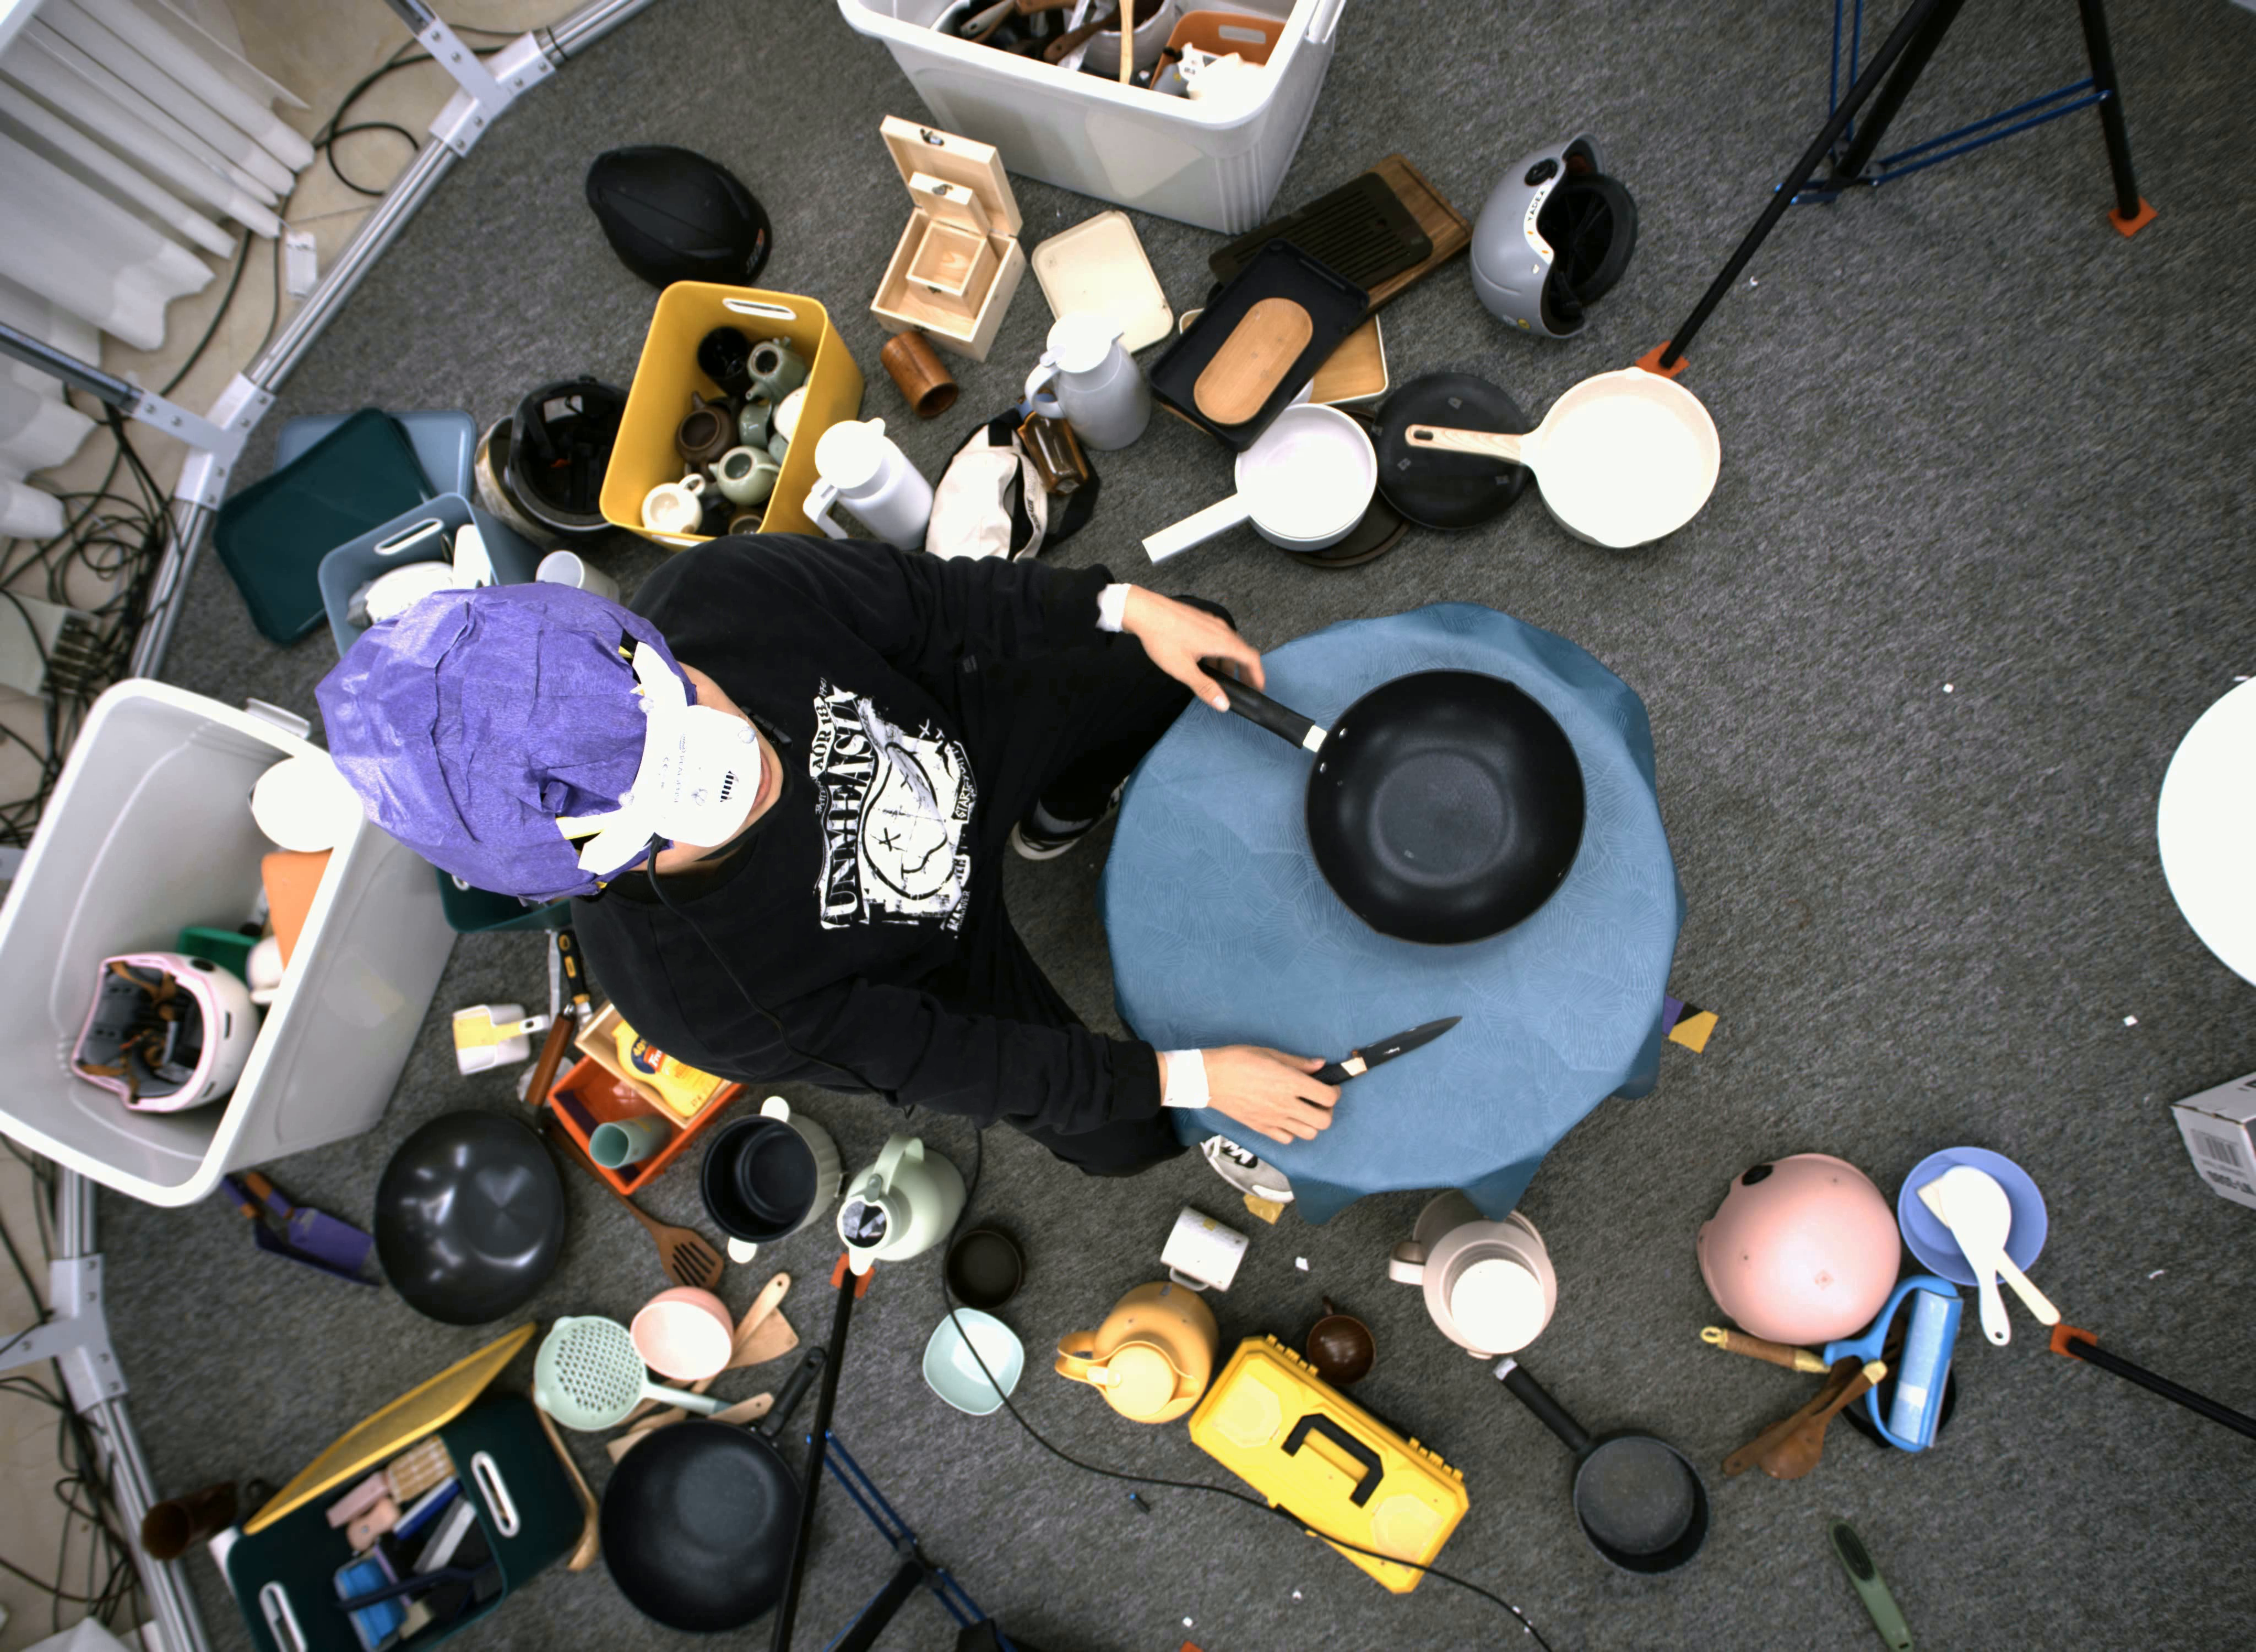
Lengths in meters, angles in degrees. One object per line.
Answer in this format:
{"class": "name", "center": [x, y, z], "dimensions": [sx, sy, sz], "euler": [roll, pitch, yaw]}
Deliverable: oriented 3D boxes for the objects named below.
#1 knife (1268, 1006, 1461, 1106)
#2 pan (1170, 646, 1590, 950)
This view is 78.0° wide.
{"class": "knife", "center": [0.248, 0.241, 1.453], "dimensions": [0.227, 0.017, 0.026], "euler": [-25, 69, 8]}
{"class": "pan", "center": [0.247, -0.059, 1.431], "dimensions": [0.462, 0.087, 0.288], "euler": [29, 93, 12]}
